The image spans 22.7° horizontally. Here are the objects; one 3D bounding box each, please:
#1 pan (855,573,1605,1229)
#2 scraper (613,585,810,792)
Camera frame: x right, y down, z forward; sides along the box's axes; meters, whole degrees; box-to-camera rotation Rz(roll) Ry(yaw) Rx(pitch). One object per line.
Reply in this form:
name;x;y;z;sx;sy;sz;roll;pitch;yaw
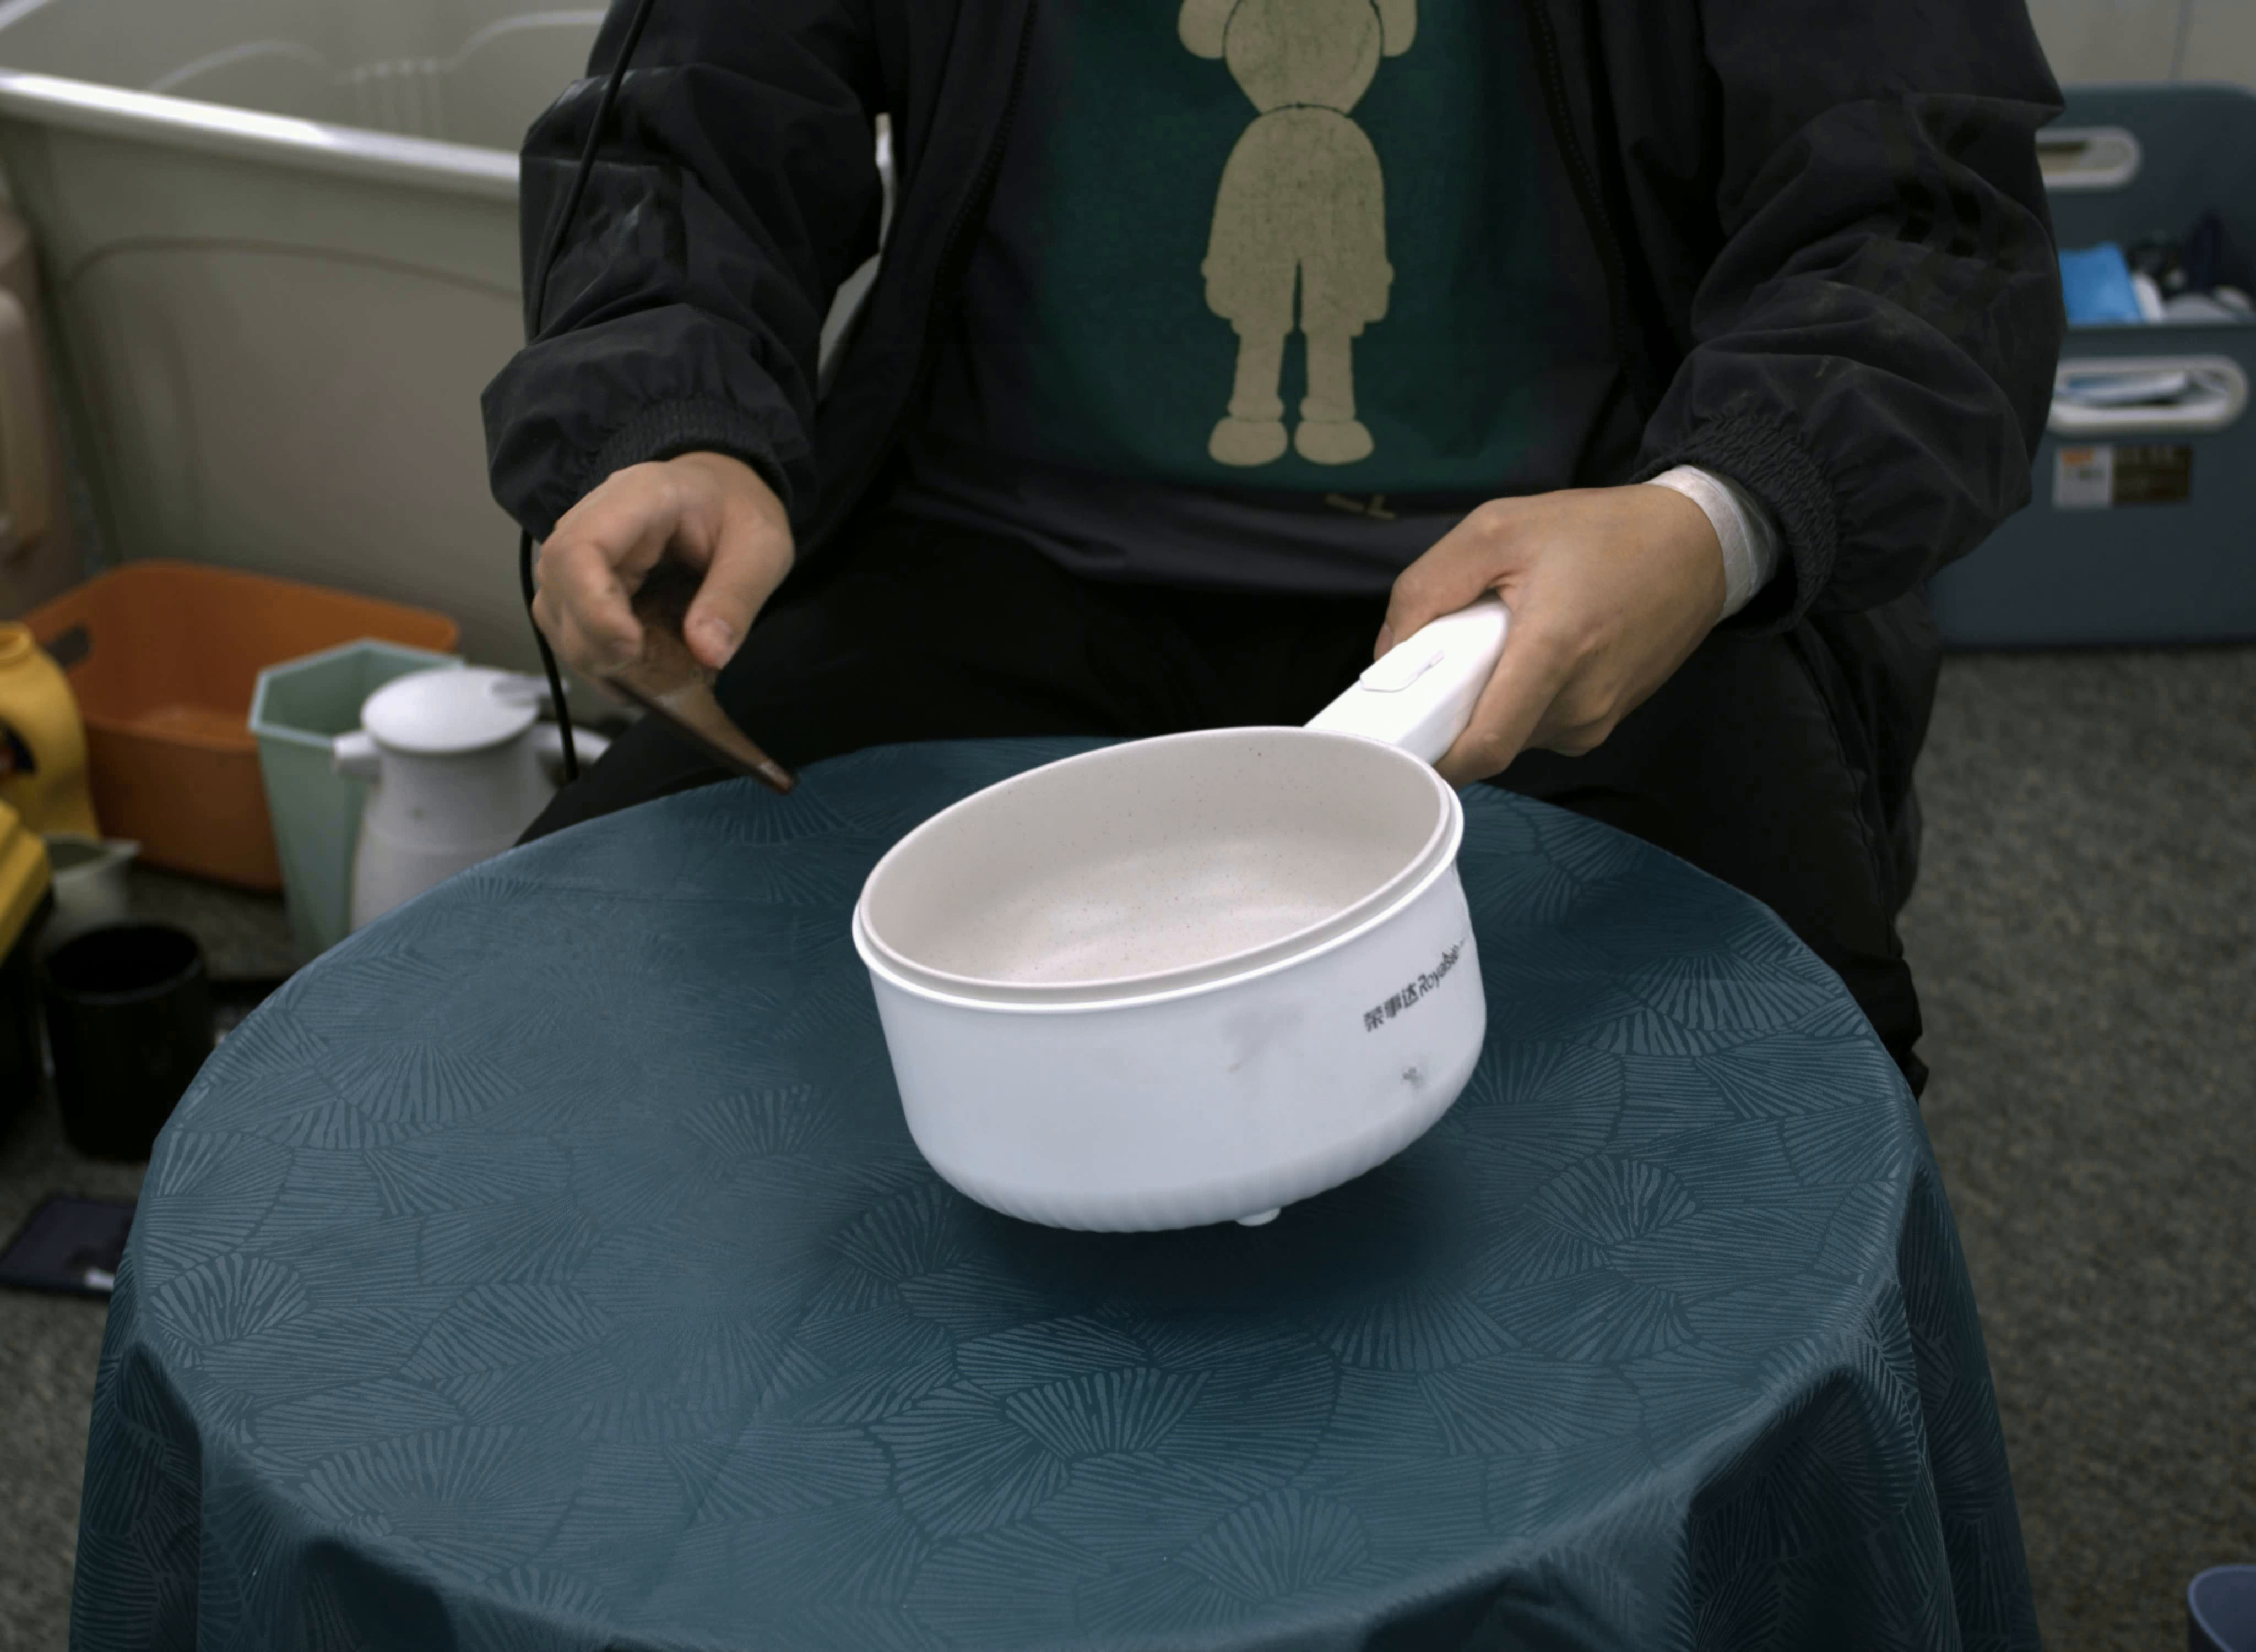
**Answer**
pan;0.060;0.023;1.884;0.199;0.101;0.360;3;25;35
scraper;-0.149;-0.053;1.902;0.075;0.011;0.212;36;6;-15
